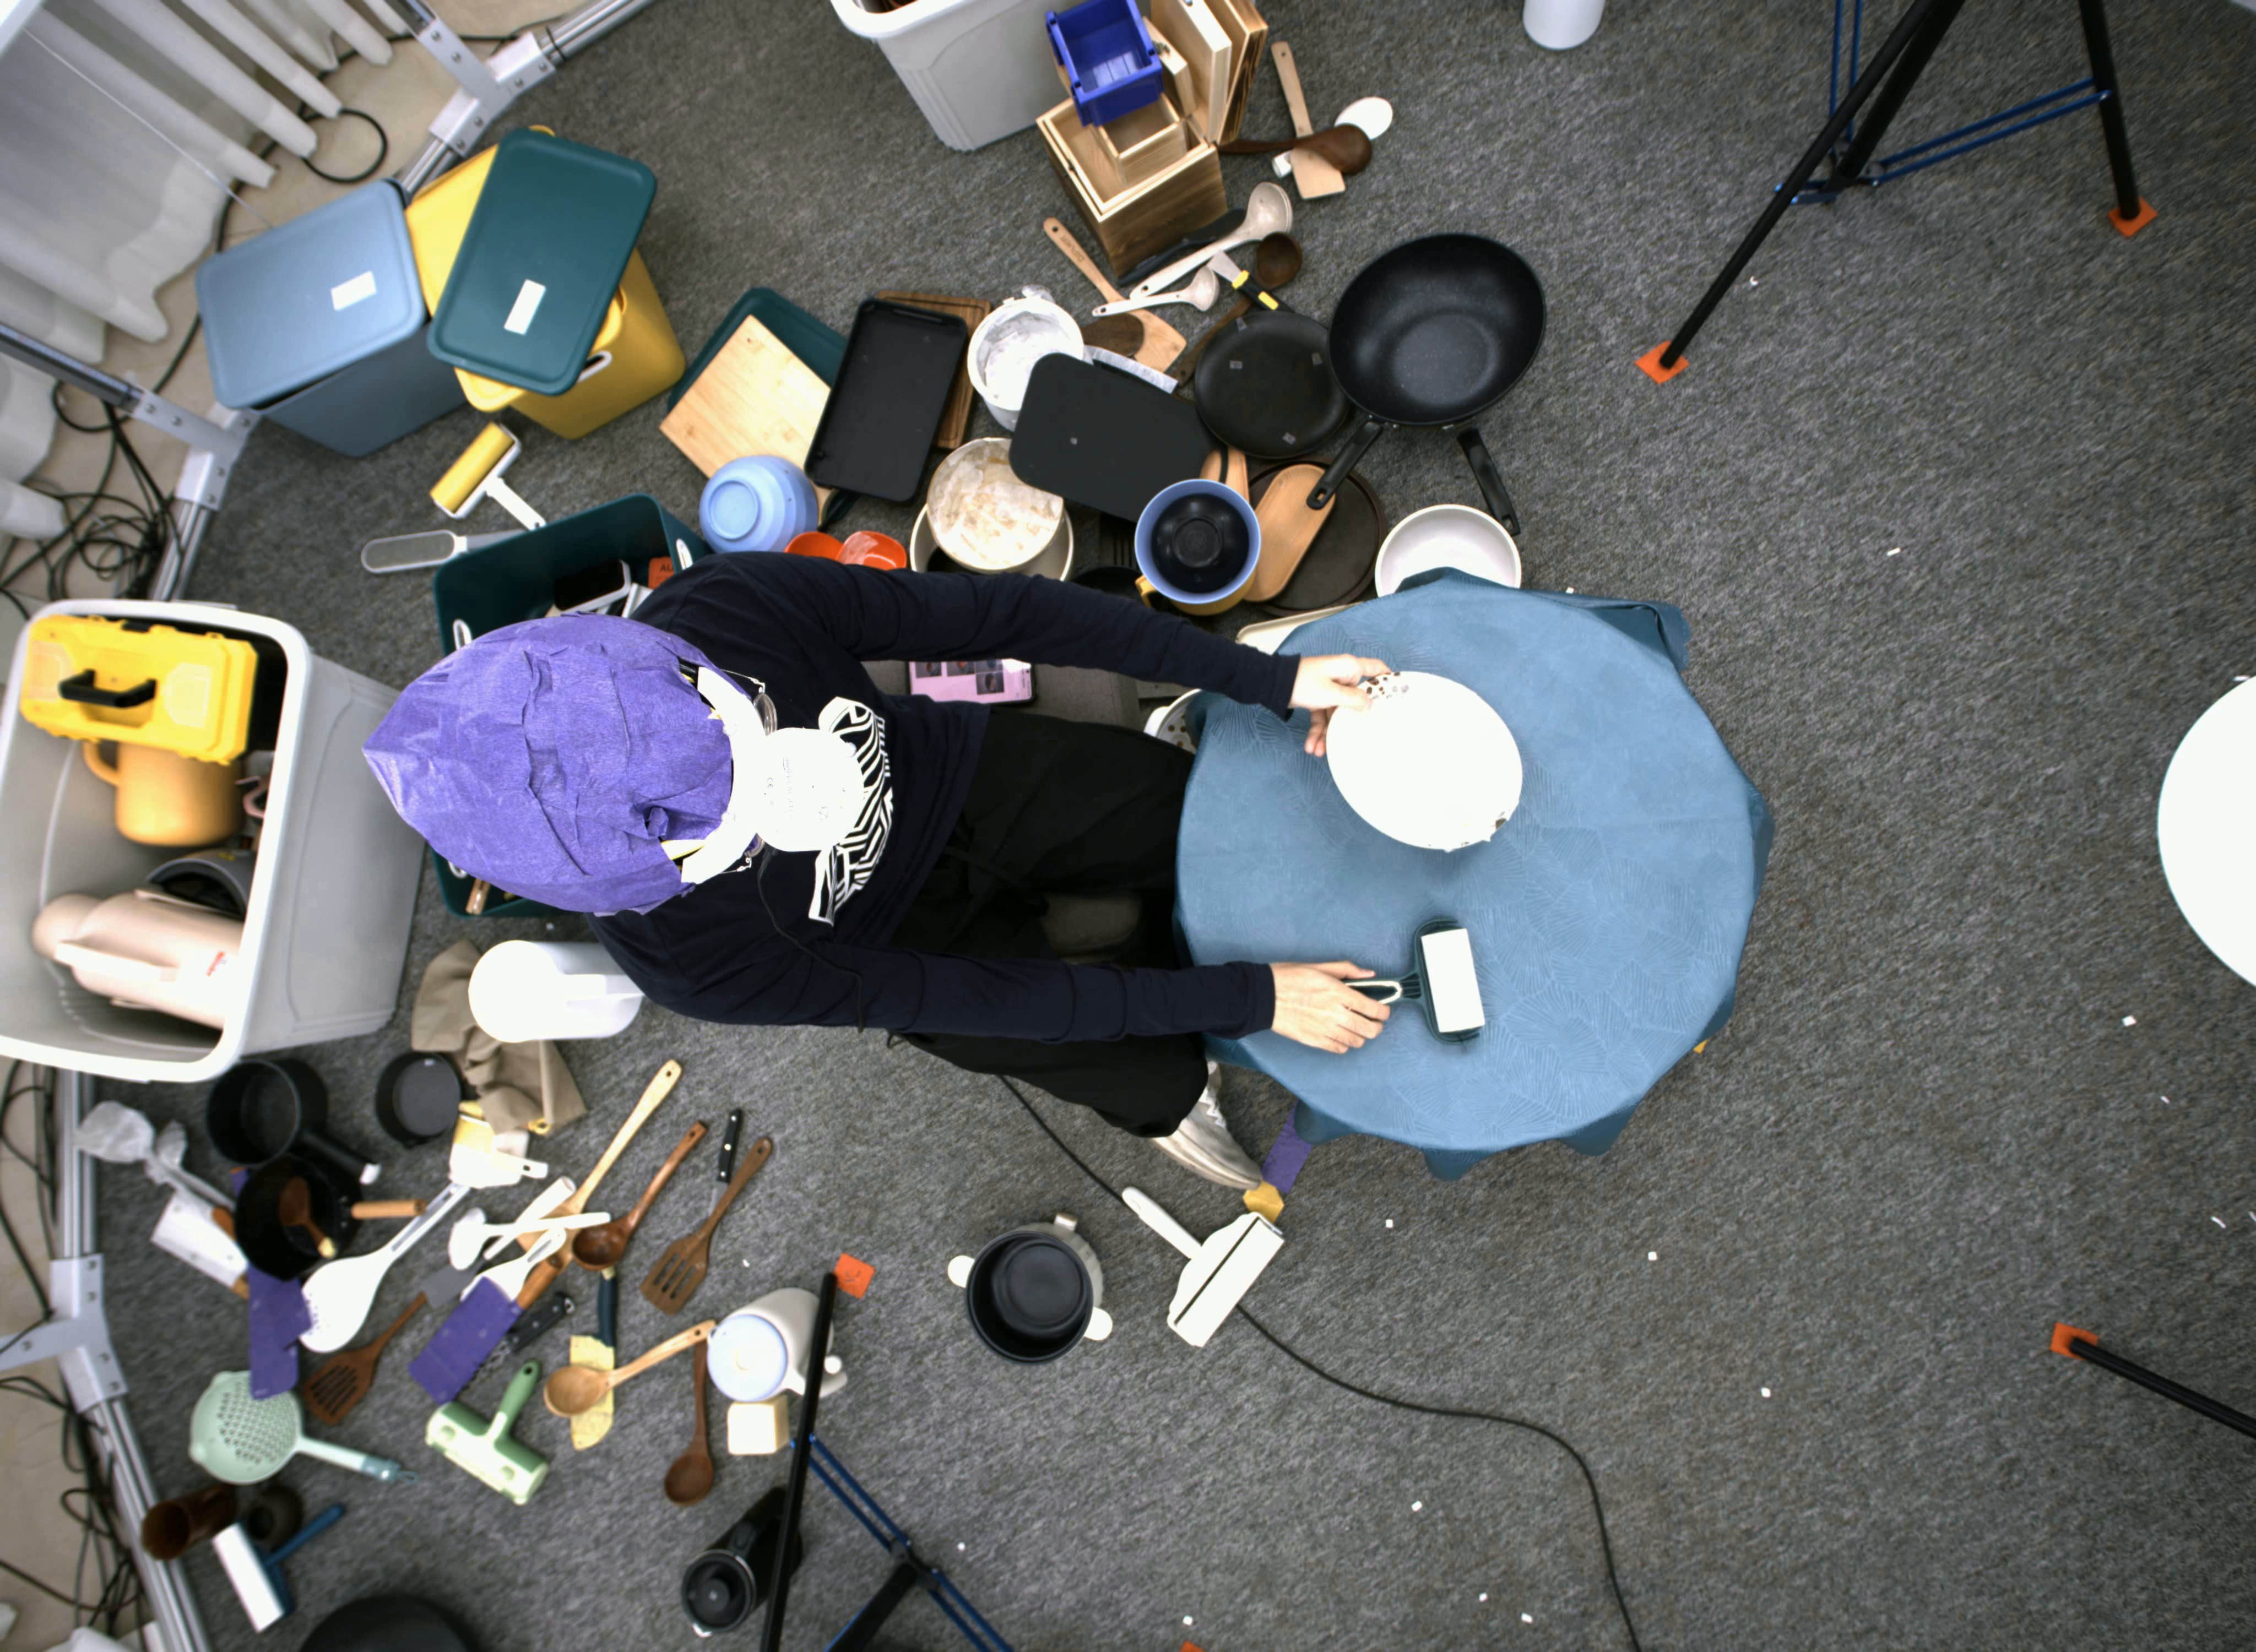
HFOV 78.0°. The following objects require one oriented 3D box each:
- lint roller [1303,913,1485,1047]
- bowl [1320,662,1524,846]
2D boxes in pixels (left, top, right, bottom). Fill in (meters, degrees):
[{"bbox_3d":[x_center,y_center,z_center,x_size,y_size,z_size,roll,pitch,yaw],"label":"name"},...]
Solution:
[{"bbox_3d":[0.269,0.169,1.428,0.181,0.048,0.133,-10,85,8],"label":"lint roller"},{"bbox_3d":[0.294,-0.062,1.402,0.204,0.079,0.200,-1,70,2],"label":"bowl"}]
